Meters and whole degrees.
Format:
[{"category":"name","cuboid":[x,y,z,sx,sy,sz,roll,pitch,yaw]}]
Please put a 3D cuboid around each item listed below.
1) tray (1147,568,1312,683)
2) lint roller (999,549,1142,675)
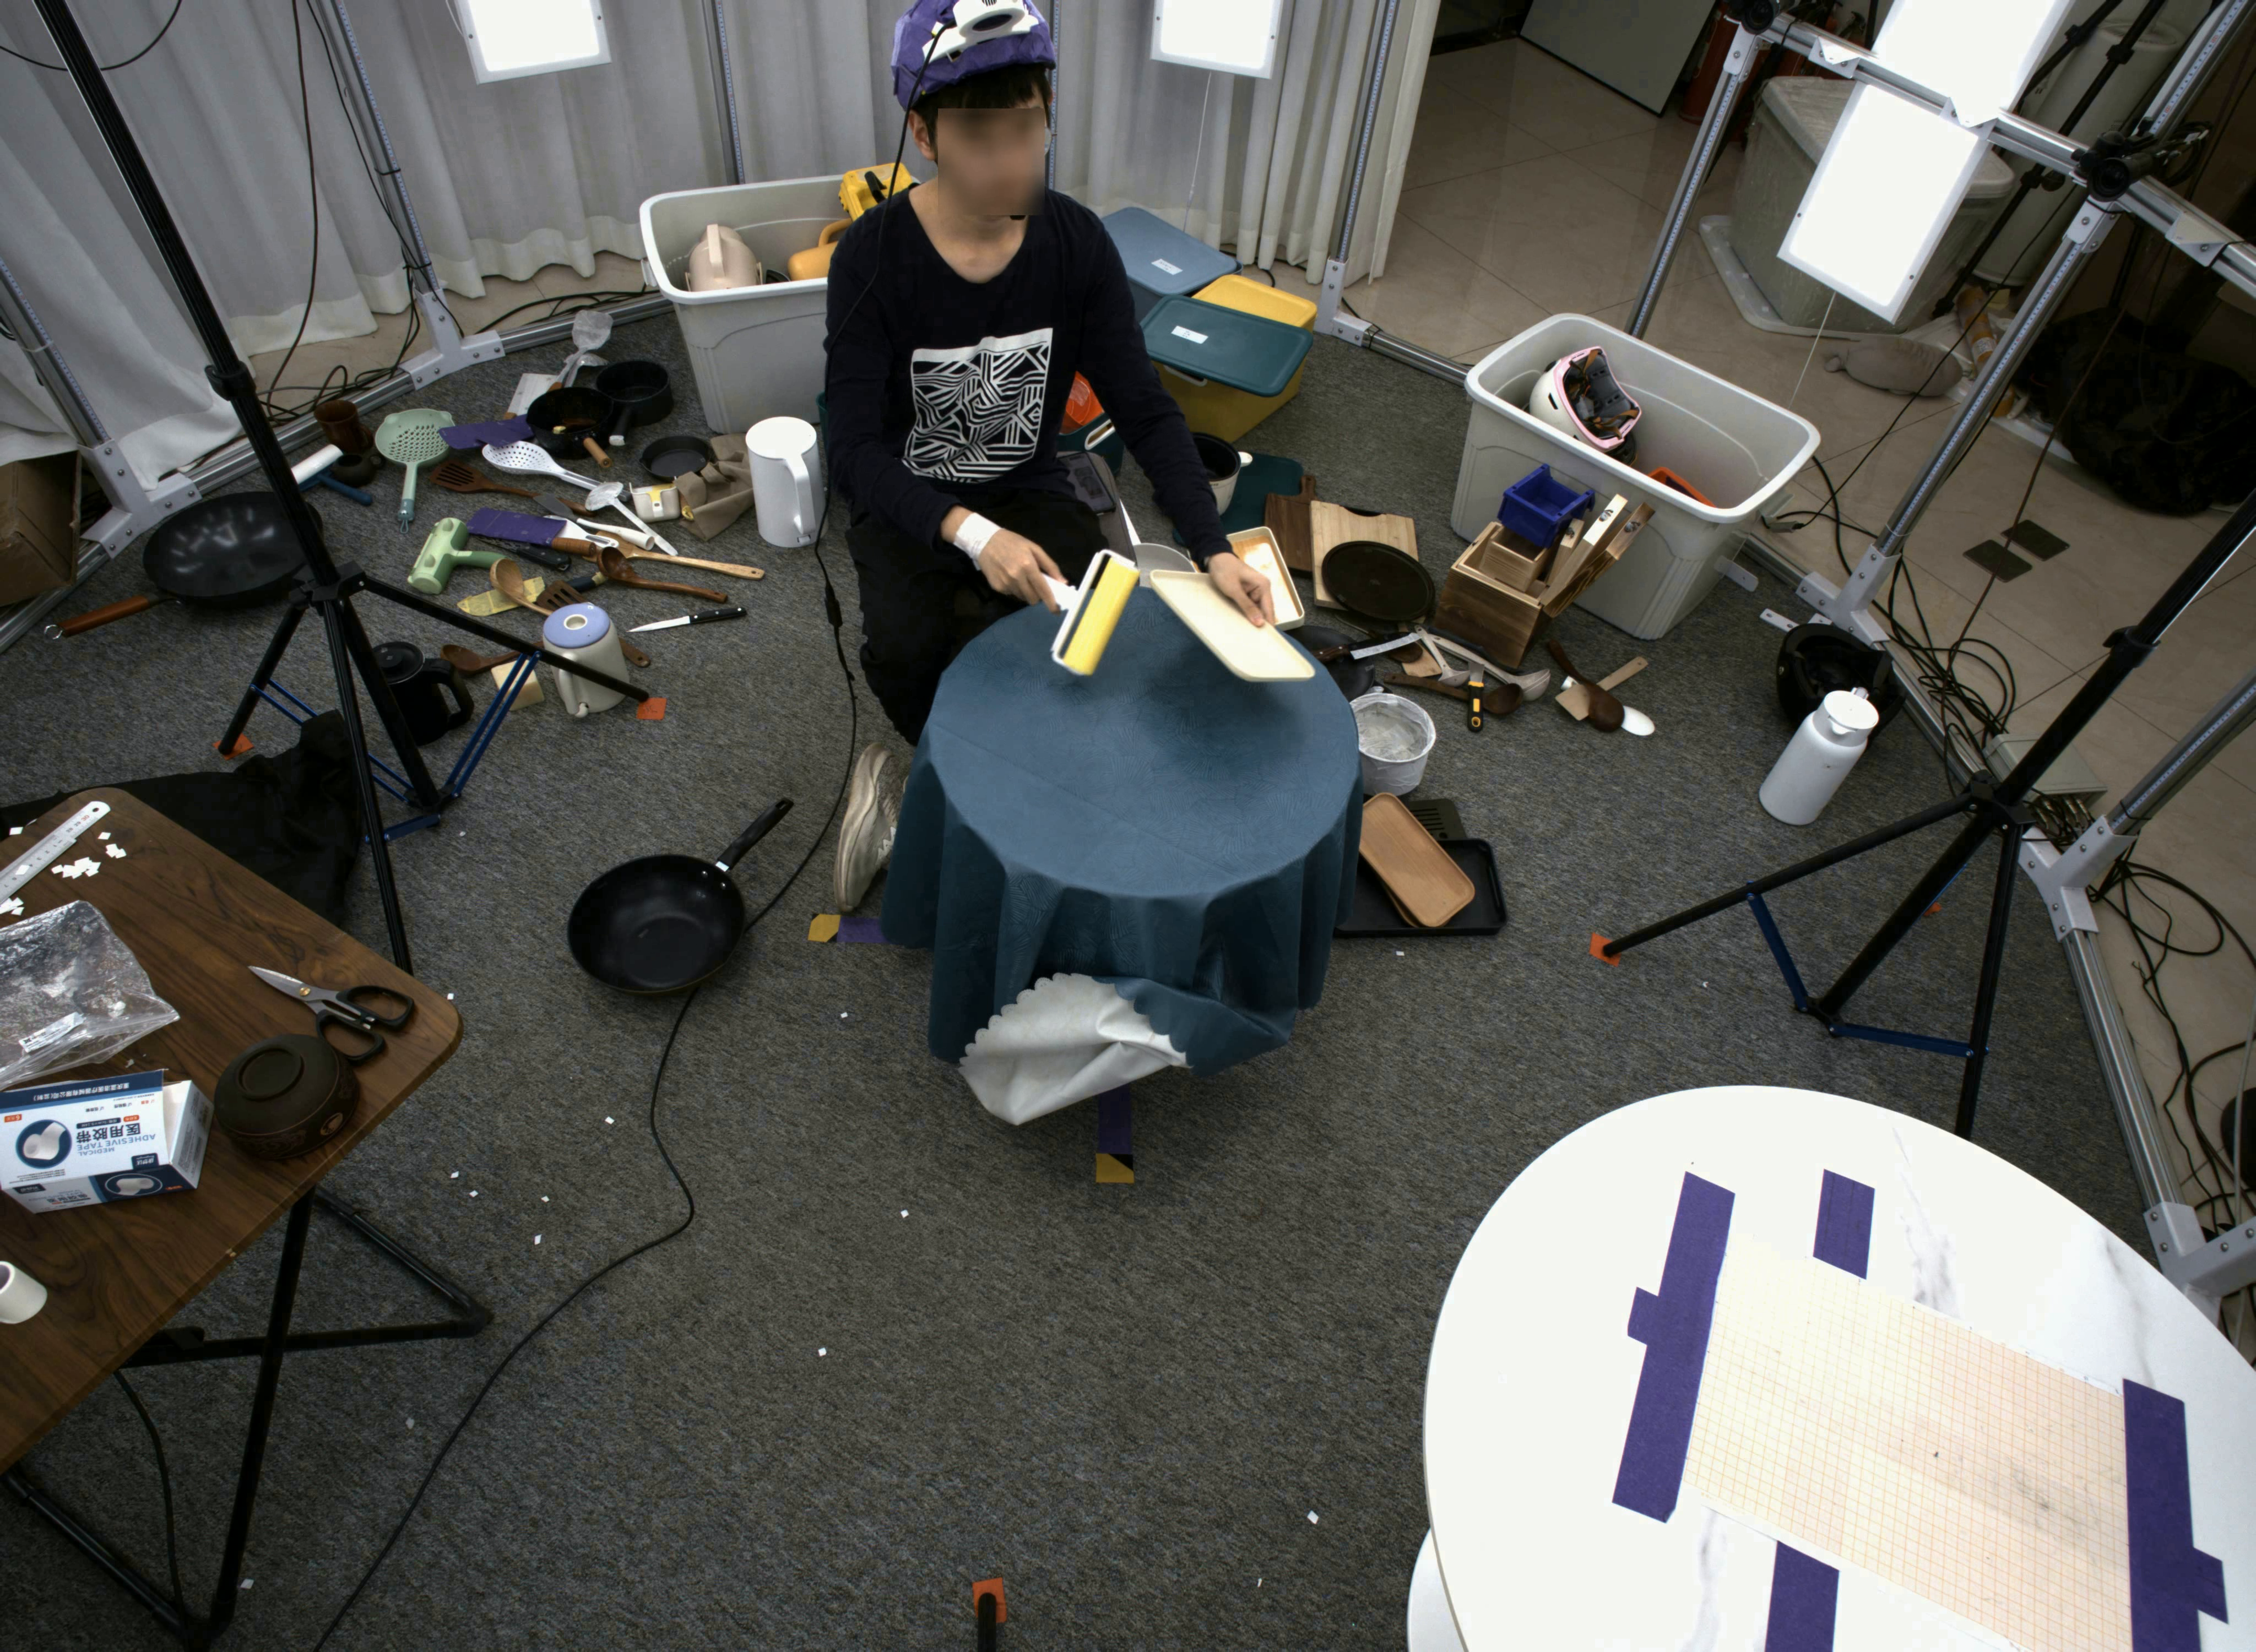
[{"category":"tray","cuboid":[0.139,-0.277,1.783,0.171,0.017,0.244,-5,47,-45]},{"category":"lint roller","cuboid":[-0.098,-0.325,1.804,0.192,0.172,0.052,25,15,5]}]
